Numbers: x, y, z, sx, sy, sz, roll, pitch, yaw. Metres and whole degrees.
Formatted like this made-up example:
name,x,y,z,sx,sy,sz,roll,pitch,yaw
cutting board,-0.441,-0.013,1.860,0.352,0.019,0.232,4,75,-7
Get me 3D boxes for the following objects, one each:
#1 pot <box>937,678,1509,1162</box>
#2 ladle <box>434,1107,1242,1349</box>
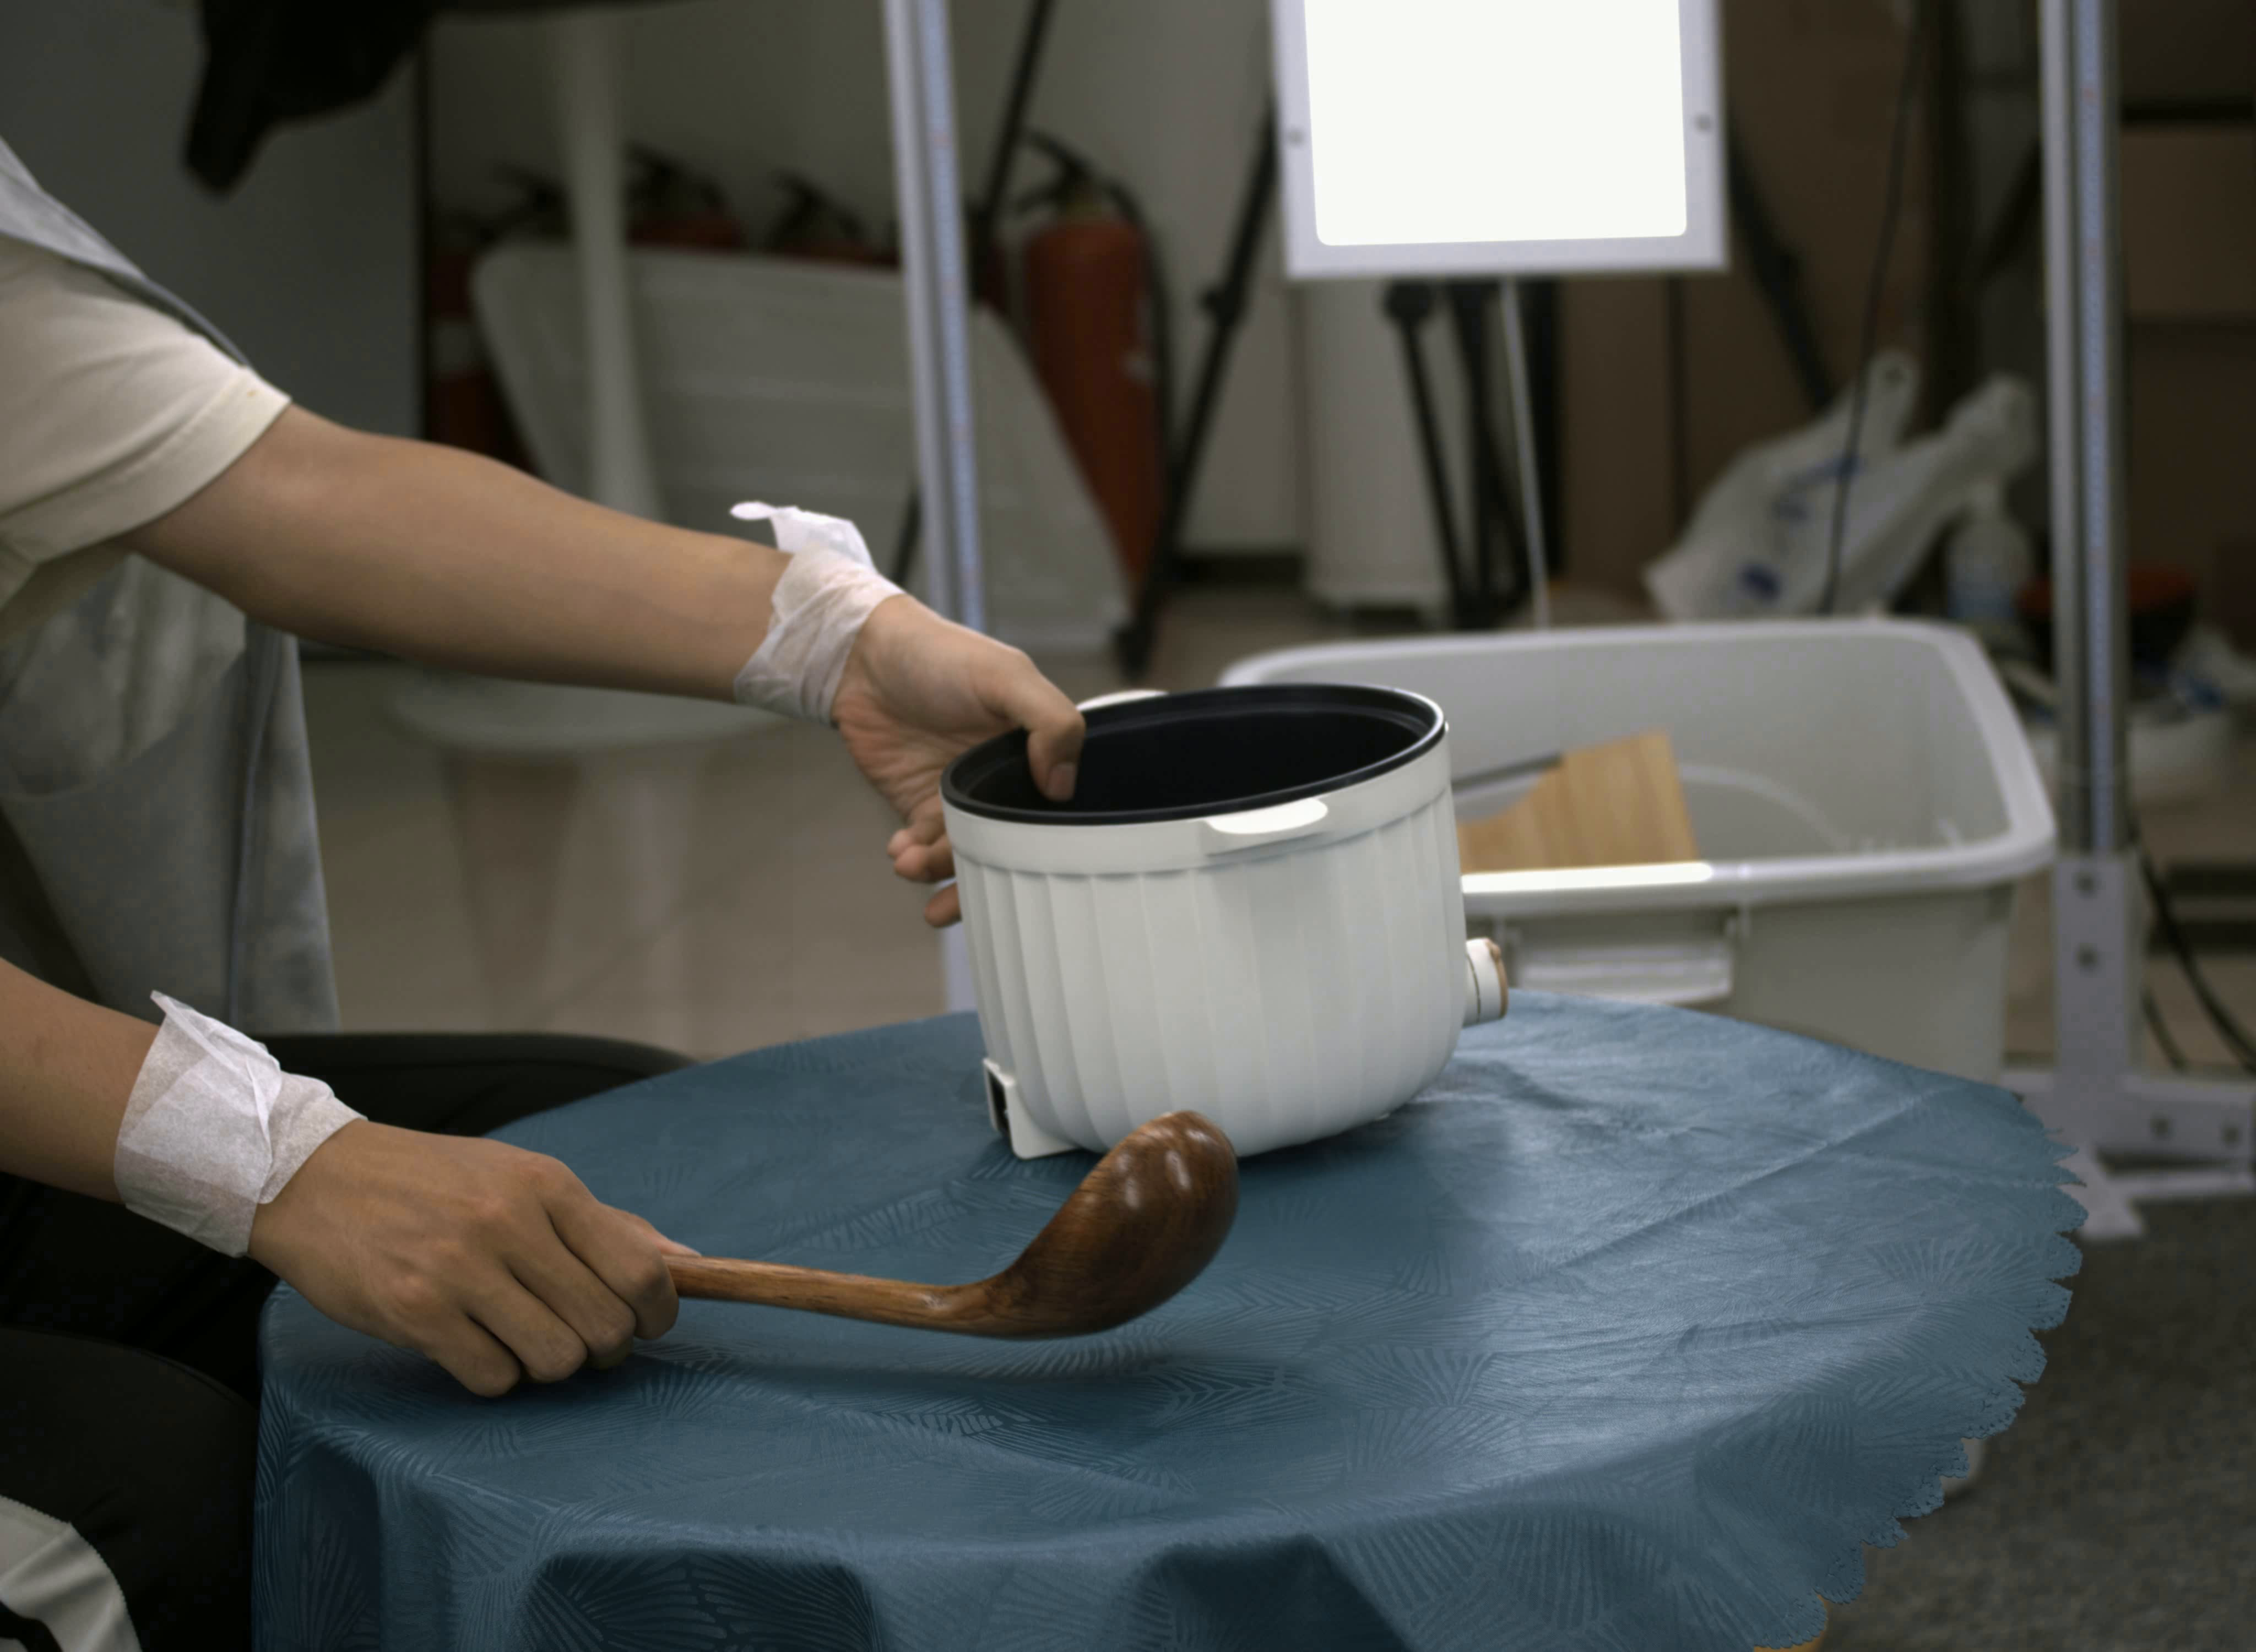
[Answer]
name,x,y,z,sx,sy,sz,roll,pitch,yaw
pot,0.036,0.034,1.959,0.188,0.143,0.242,-14,16,-11
ladle,-0.095,0.123,1.751,0.278,0.076,0.081,1,-18,25
